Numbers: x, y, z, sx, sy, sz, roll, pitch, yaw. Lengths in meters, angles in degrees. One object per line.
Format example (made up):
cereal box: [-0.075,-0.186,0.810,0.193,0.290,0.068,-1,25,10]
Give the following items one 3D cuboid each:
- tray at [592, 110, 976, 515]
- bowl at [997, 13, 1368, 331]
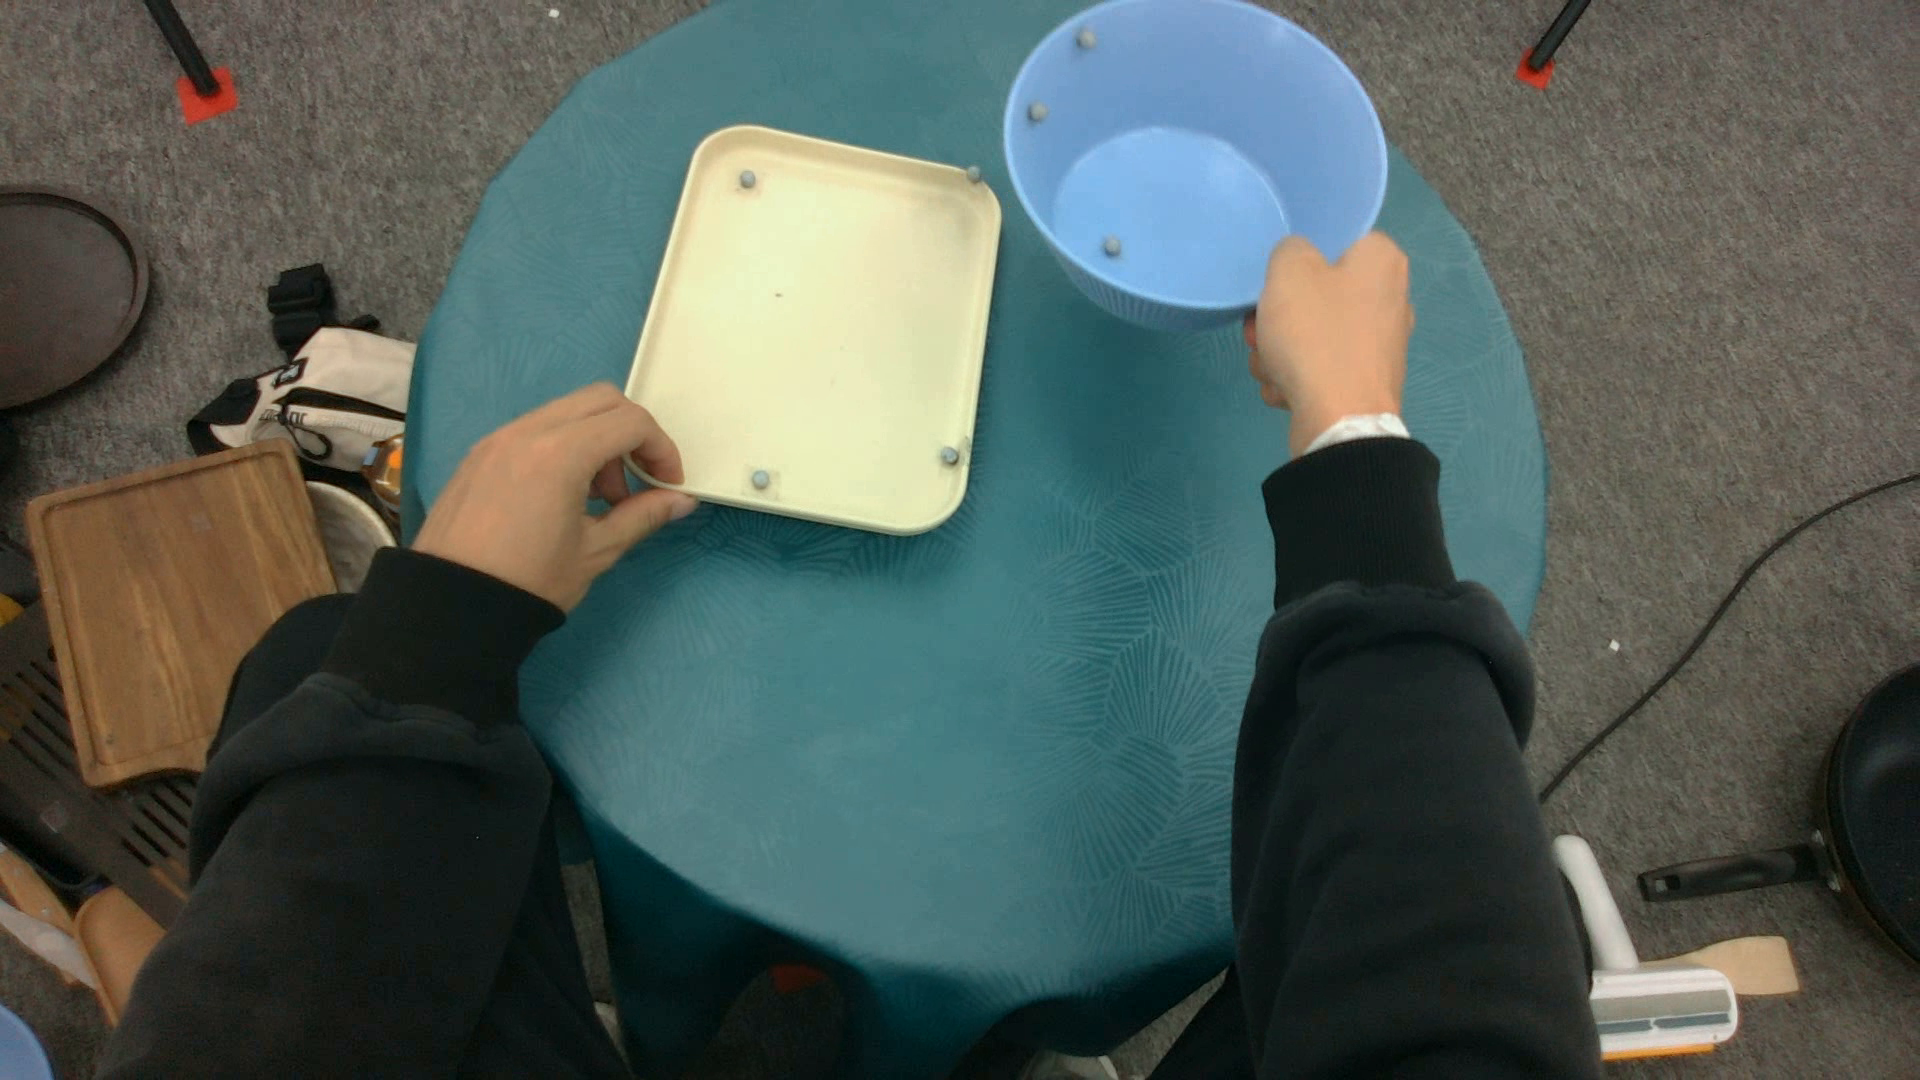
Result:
tray: [-0.083,-0.122,0.710,0.171,0.017,0.240,10,60,-5]
bowl: [0.103,-0.169,0.673,0.176,0.070,0.176,2,64,-3]
